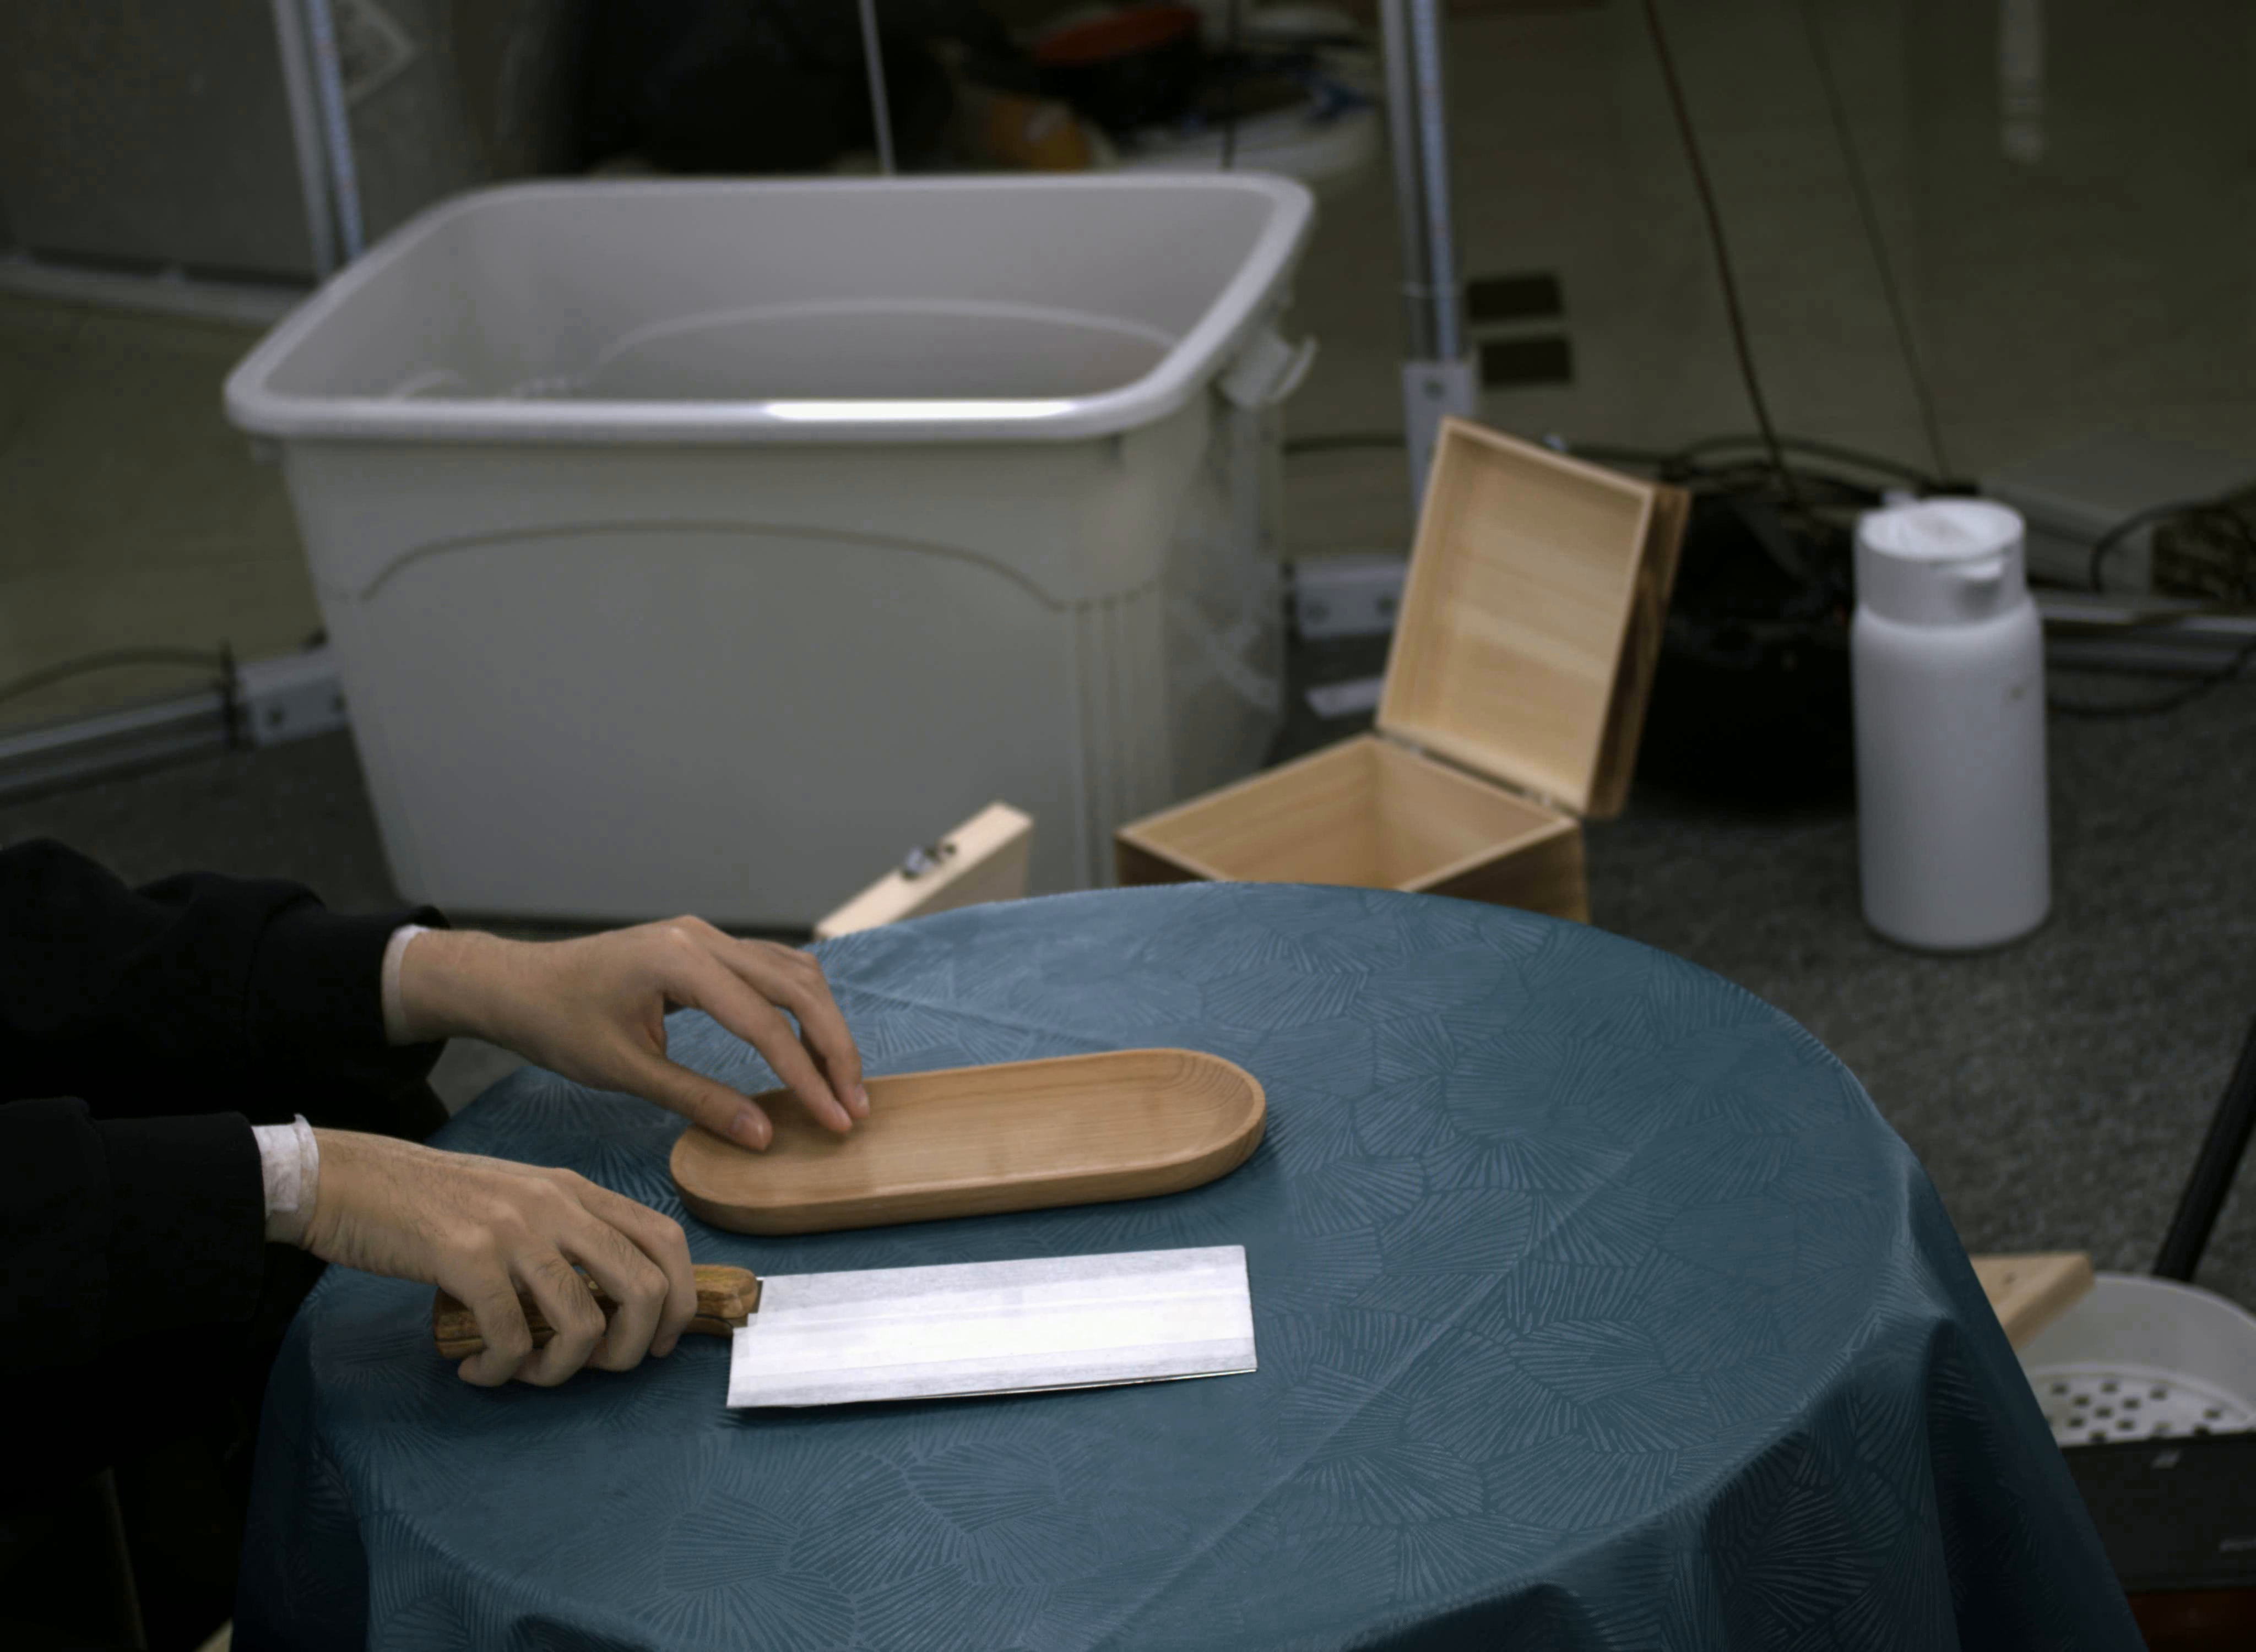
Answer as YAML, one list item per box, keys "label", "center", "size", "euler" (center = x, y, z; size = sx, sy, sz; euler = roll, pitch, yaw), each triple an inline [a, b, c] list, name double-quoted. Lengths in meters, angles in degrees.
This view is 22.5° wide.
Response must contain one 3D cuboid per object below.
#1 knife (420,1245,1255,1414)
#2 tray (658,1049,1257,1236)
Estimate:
- label: "knife"
  center: [-0.107, 0.184, 2.058]
  size: [0.305, 0.021, 0.091]
  euler: [-4, 27, 0]
- label: "tray"
  center: [-0.065, 0.122, 2.178]
  size: [0.231, 0.020, 0.100]
  euler: [-7, 24, 2]
